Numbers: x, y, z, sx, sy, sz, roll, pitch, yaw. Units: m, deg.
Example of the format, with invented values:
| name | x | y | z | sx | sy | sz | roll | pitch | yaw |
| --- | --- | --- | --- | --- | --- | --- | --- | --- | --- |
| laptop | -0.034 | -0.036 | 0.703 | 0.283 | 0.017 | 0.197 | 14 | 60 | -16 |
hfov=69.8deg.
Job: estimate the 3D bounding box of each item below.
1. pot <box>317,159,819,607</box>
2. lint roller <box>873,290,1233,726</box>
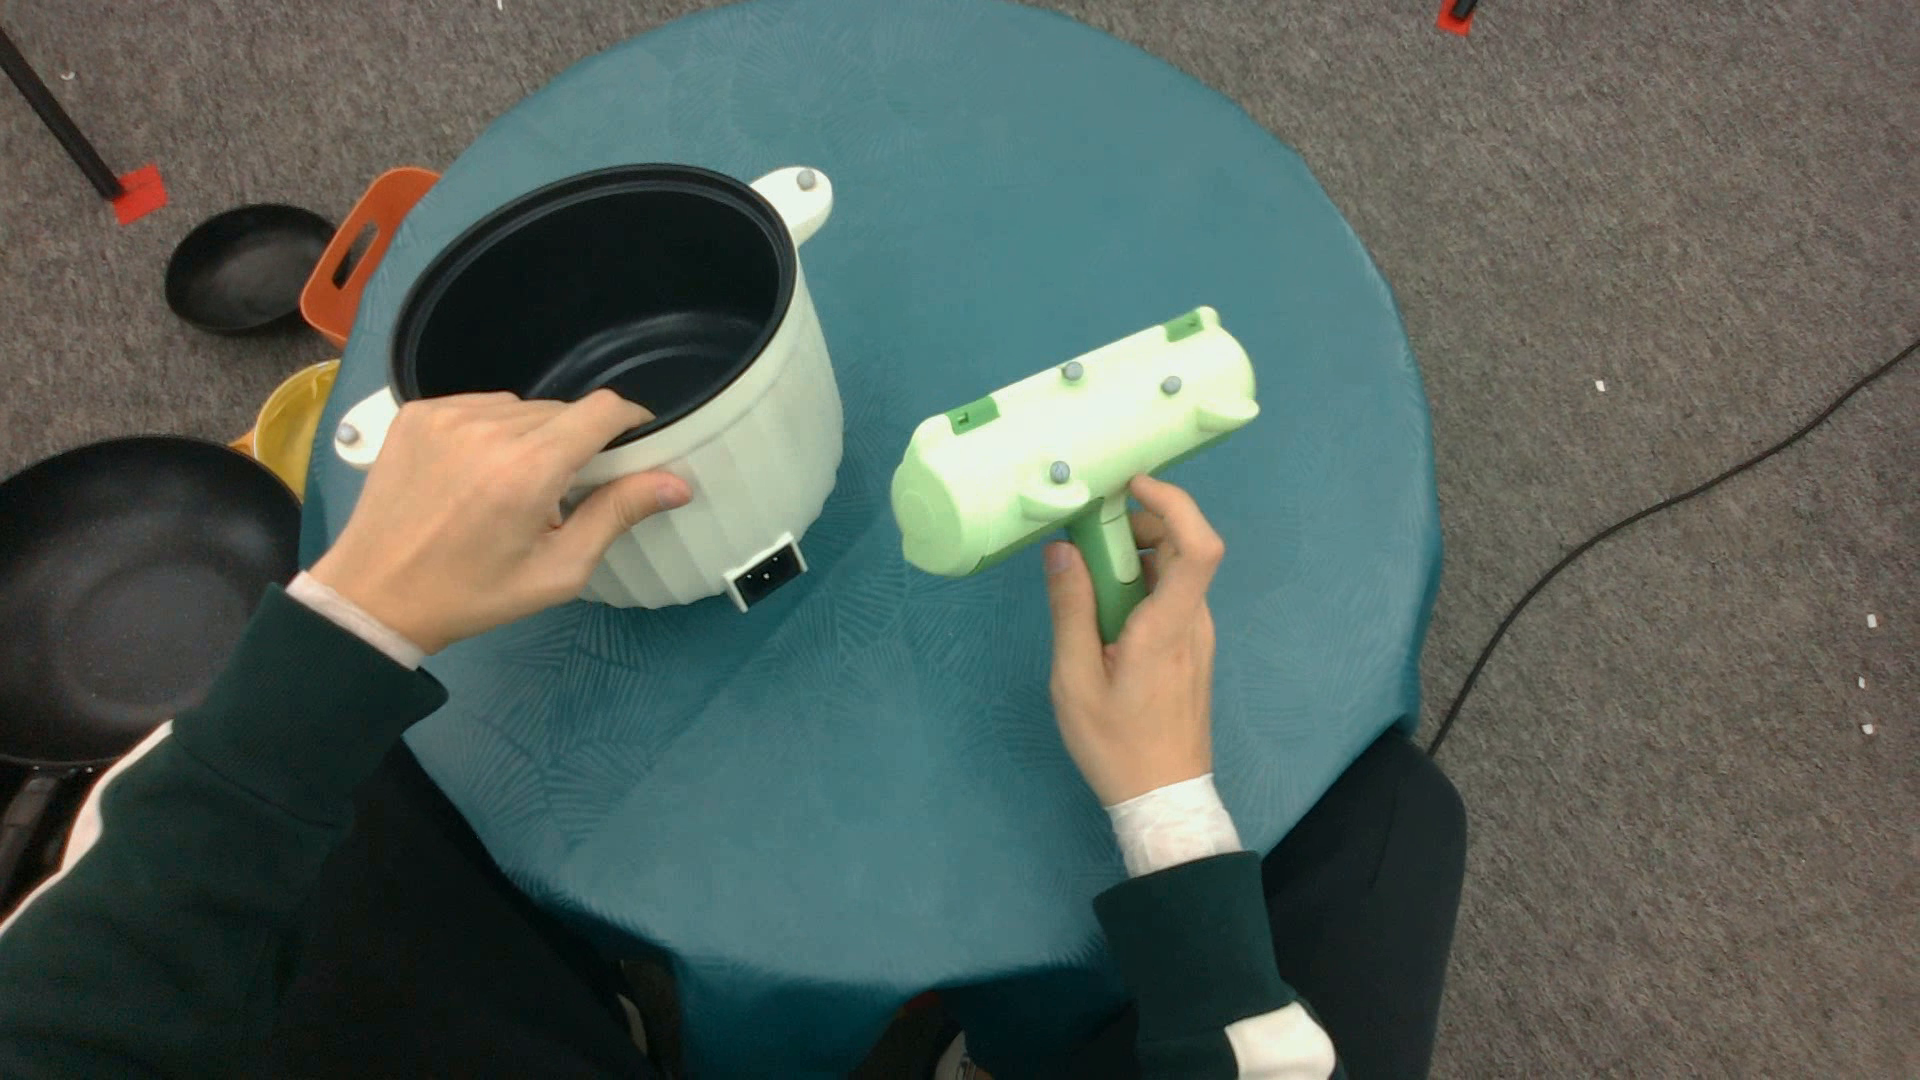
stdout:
| name | x | y | z | sx | sy | sz | roll | pitch | yaw |
| --- | --- | --- | --- | --- | --- | --- | --- | --- | --- |
| pot | -0.163 | -0.067 | 0.646 | 0.241 | 0.142 | 0.191 | -36 | 57 | -17 |
| lint roller | 0.068 | 0.000 | 0.609 | 0.199 | 0.082 | 0.183 | -29 | 104 | -40 |
